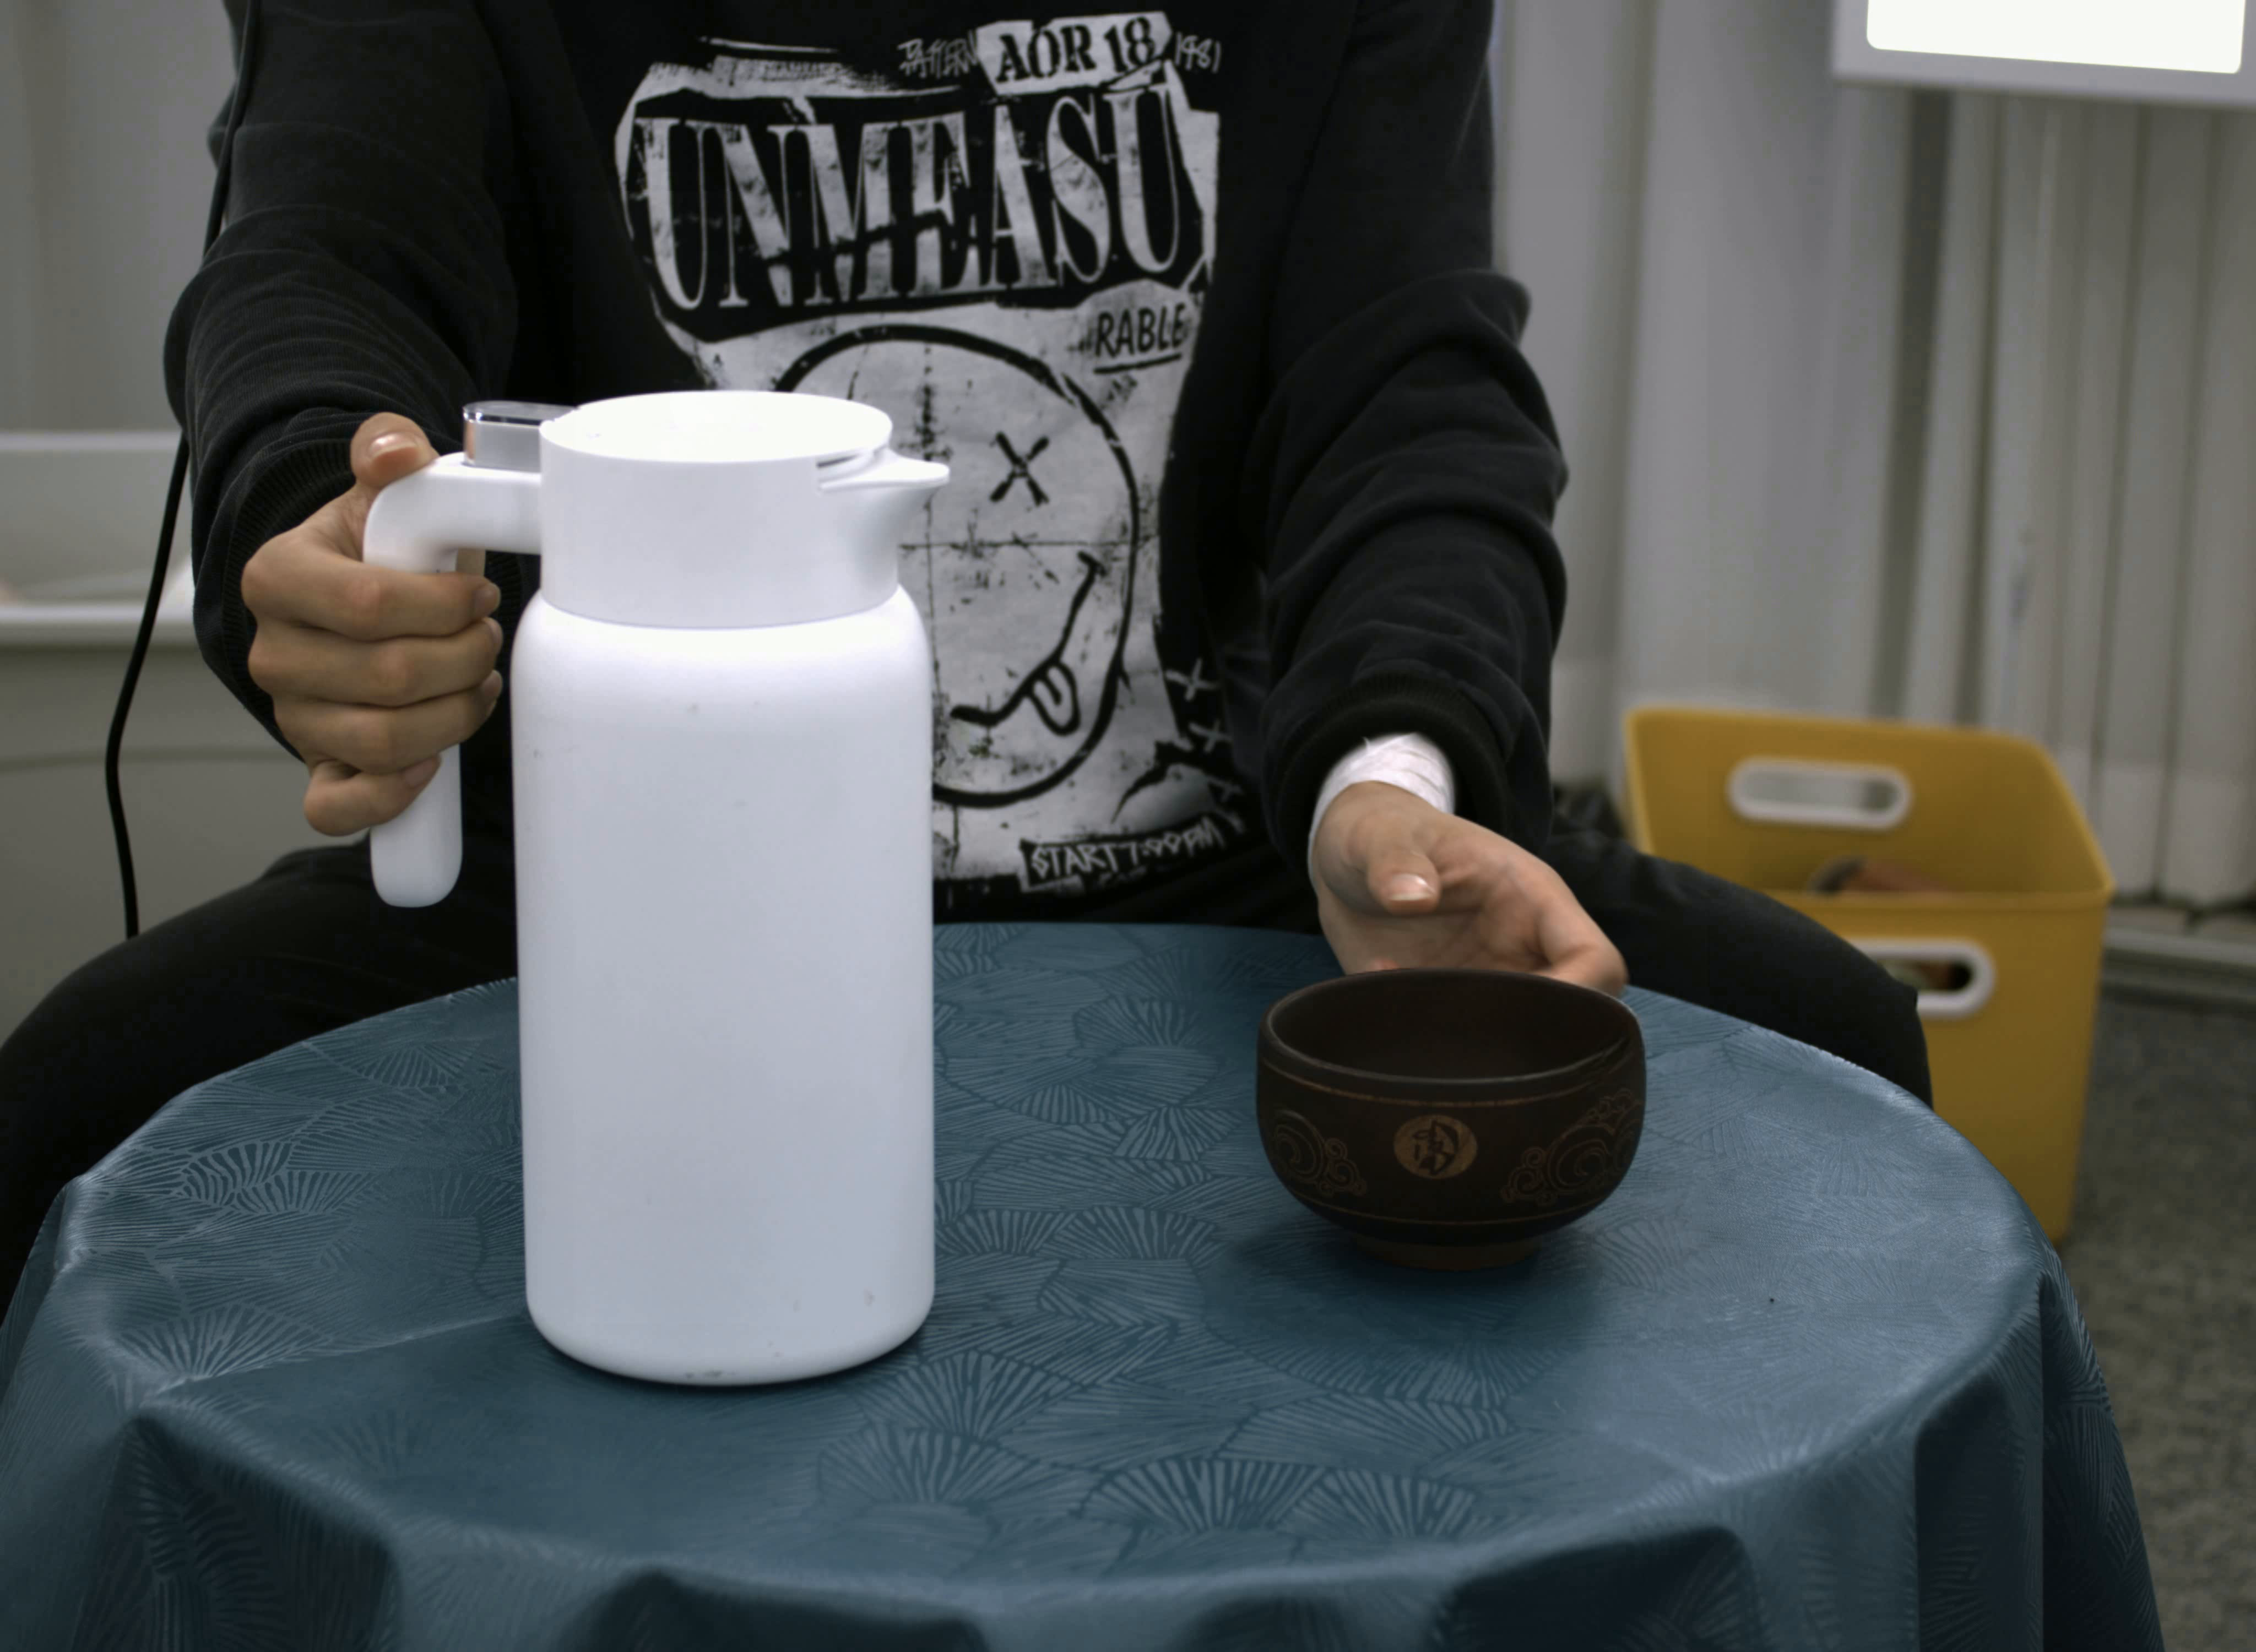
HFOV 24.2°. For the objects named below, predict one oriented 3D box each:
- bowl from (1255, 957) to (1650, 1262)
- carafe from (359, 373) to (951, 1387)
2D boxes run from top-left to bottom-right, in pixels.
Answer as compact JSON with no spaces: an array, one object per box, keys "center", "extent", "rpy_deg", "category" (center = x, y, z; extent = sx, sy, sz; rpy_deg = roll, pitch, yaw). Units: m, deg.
[{"center":[0.097,0.088,1.573],"extent":[0.117,0.070,0.117],"rpy_deg":[0,15,1],"category":"bowl"},{"center":[-0.131,0.013,1.474],"extent":[0.171,0.271,0.124],"rpy_deg":[5,19,16],"category":"carafe"}]
